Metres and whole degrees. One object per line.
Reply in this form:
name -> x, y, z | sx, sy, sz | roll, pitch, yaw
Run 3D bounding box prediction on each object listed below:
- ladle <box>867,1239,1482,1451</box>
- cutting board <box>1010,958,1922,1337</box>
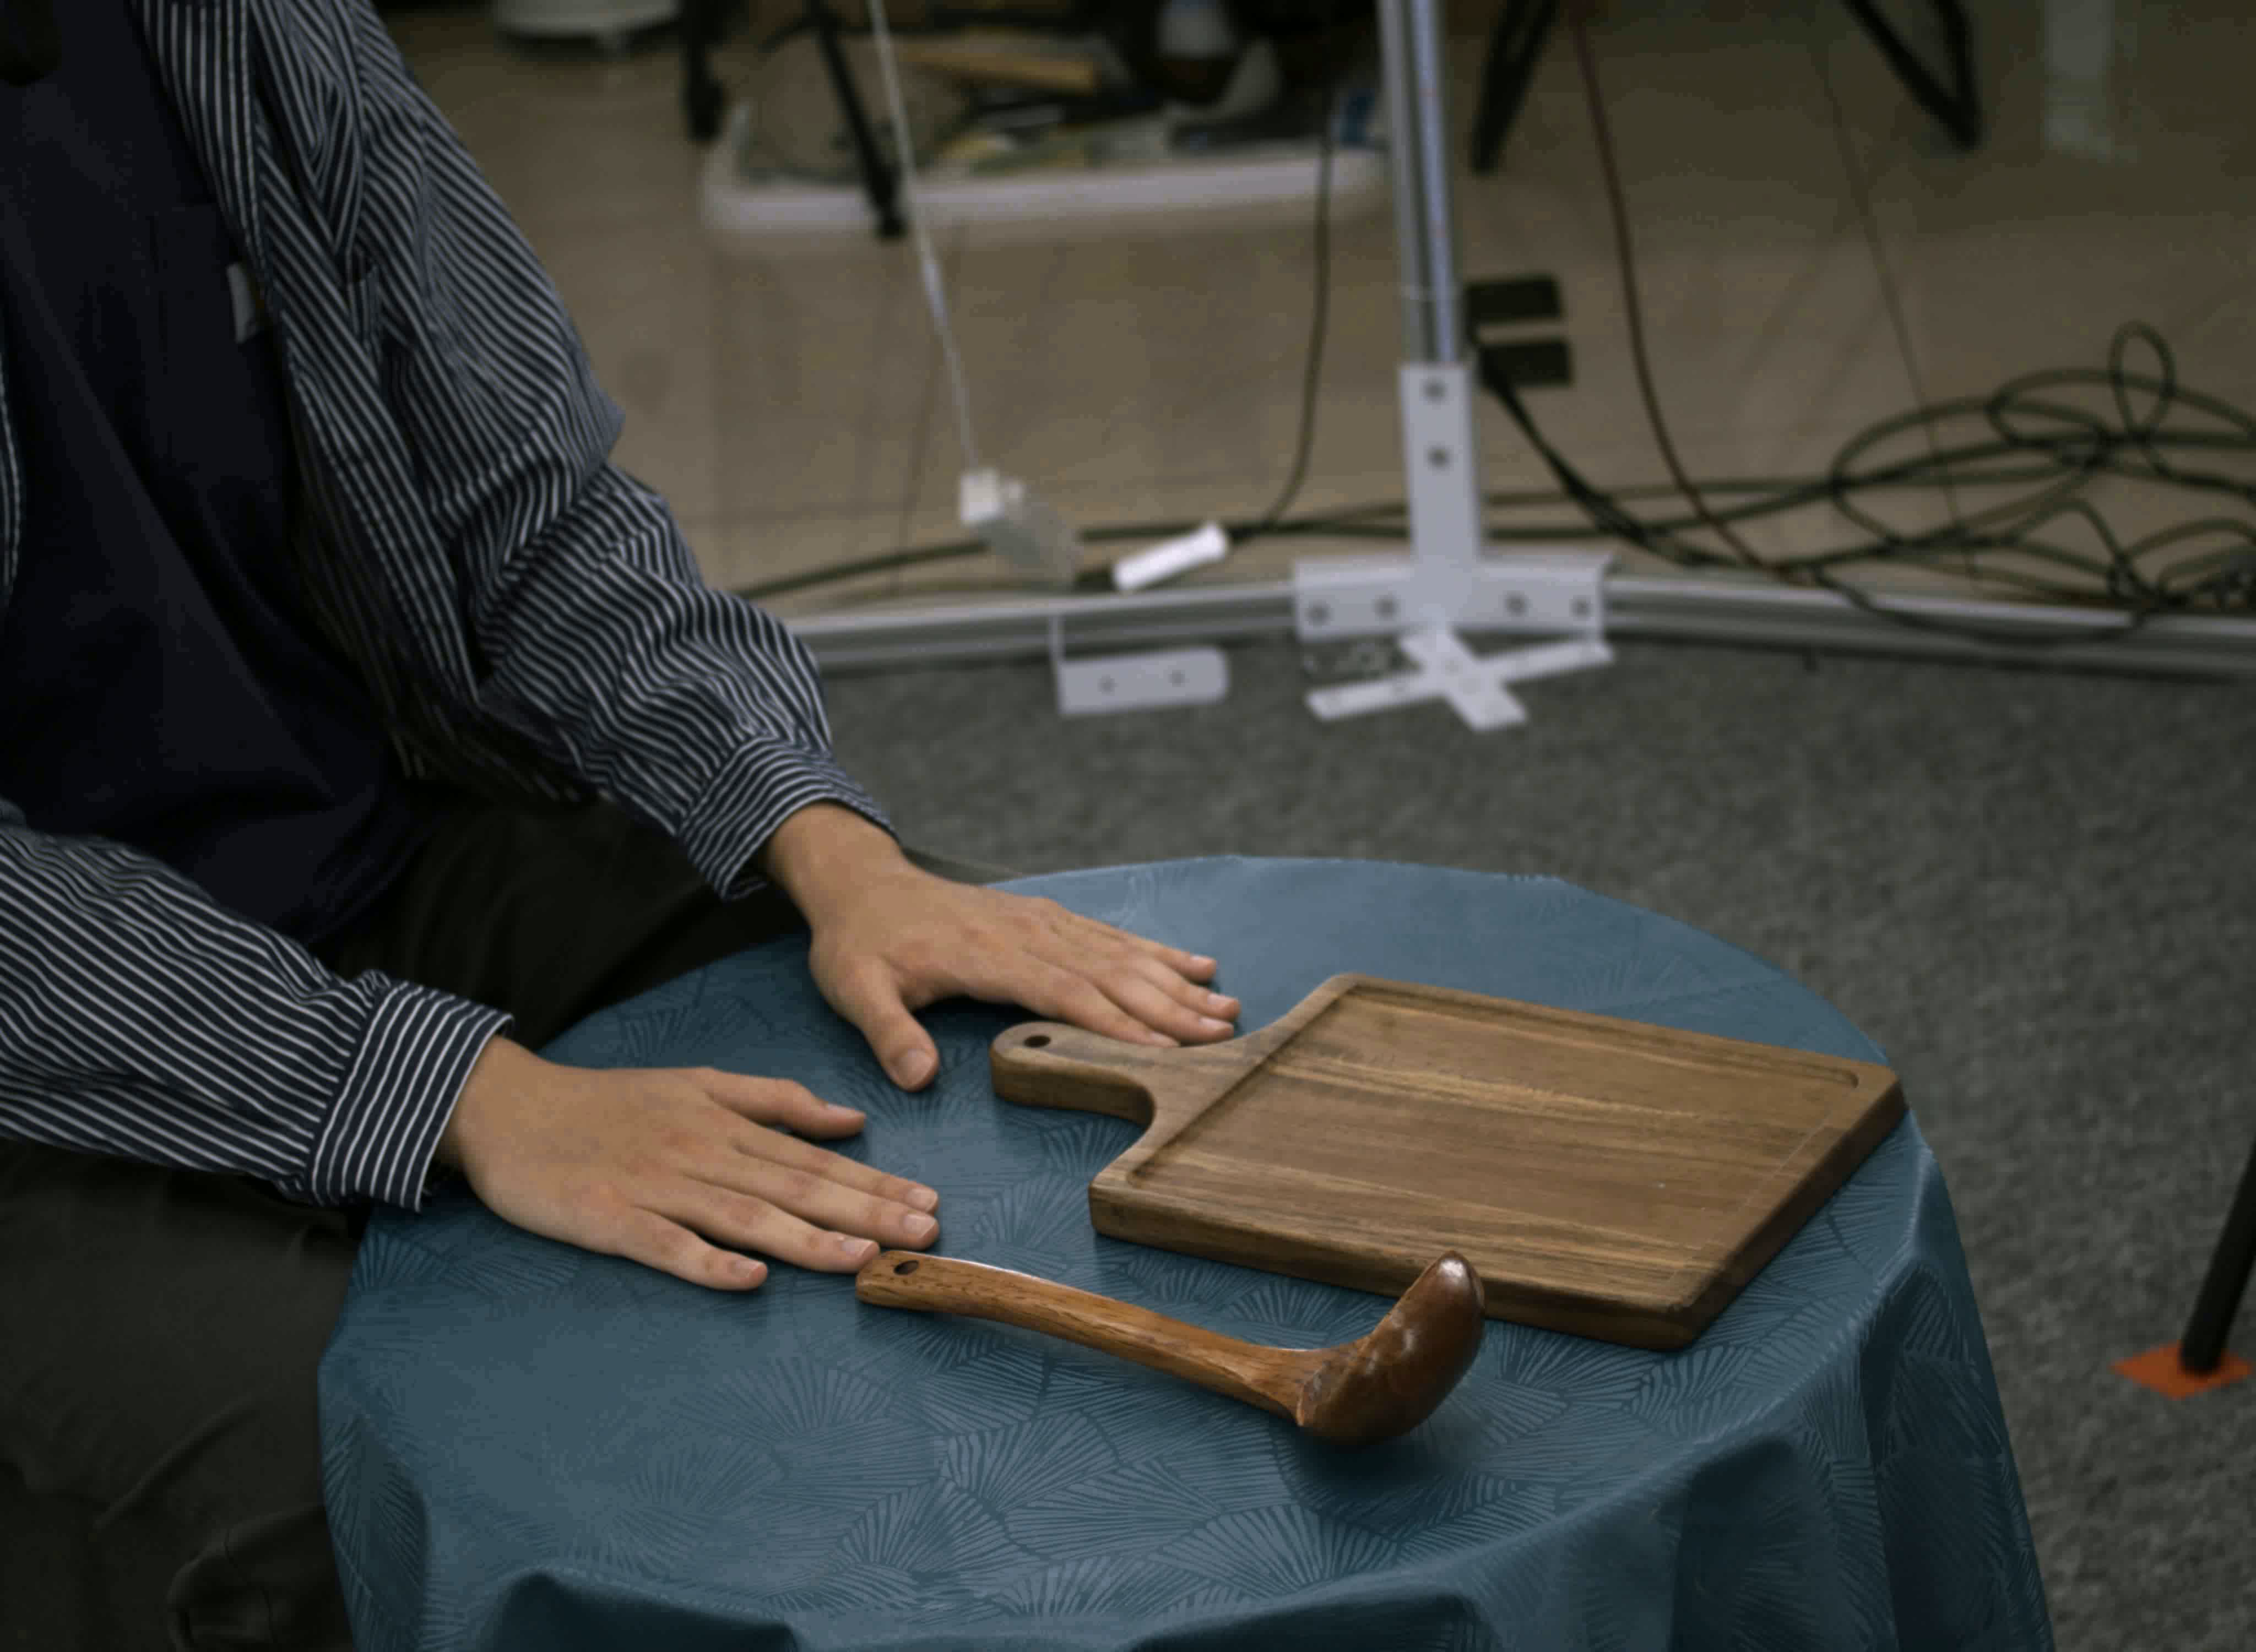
ladle -> 0.006, 0.162, 2.009 | 0.272, 0.078, 0.081 | 14, 37, 36
cutting board -> 0.105, 0.109, 2.163 | 0.350, 0.023, 0.199 | 10, 30, 32
